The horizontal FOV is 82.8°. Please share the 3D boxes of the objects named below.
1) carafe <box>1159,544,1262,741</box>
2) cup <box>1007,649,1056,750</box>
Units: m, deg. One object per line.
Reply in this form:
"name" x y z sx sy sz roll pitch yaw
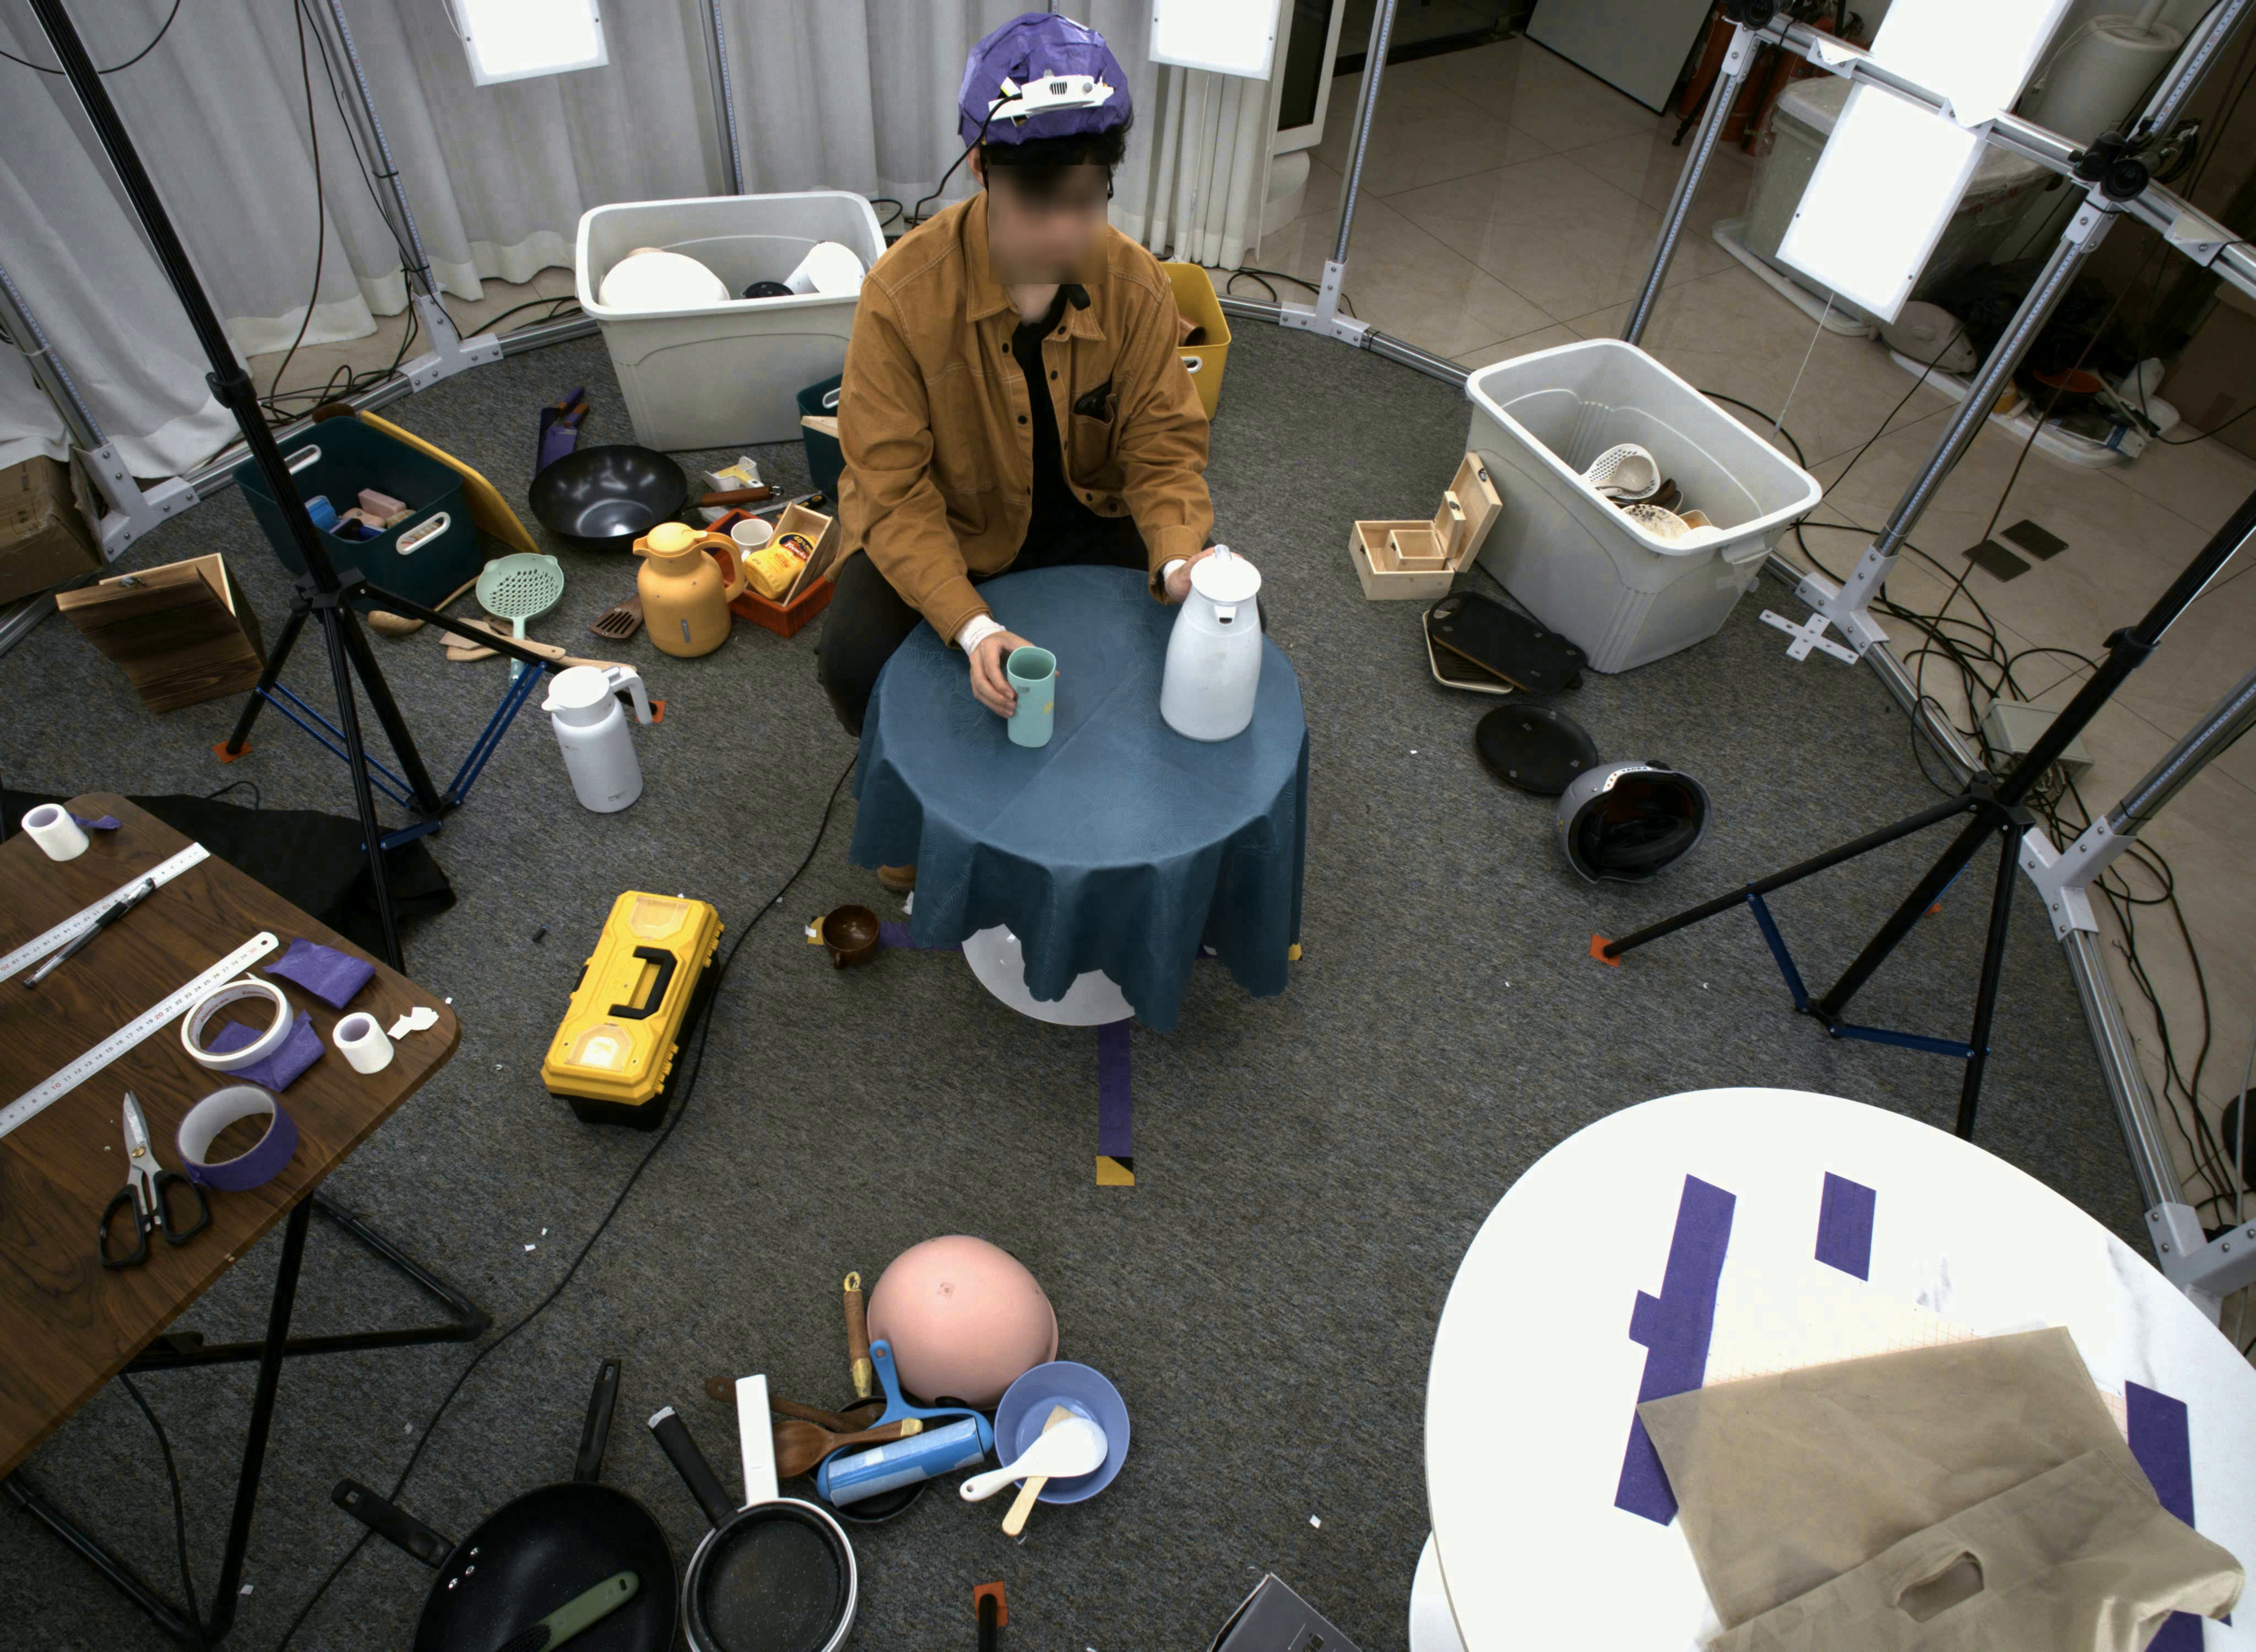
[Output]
"carafe" 0.116 -0.260 1.742 0.132 0.242 0.172 2 49 -2
"cup" -0.131 -0.170 1.729 0.066 0.129 0.068 2 50 -3
